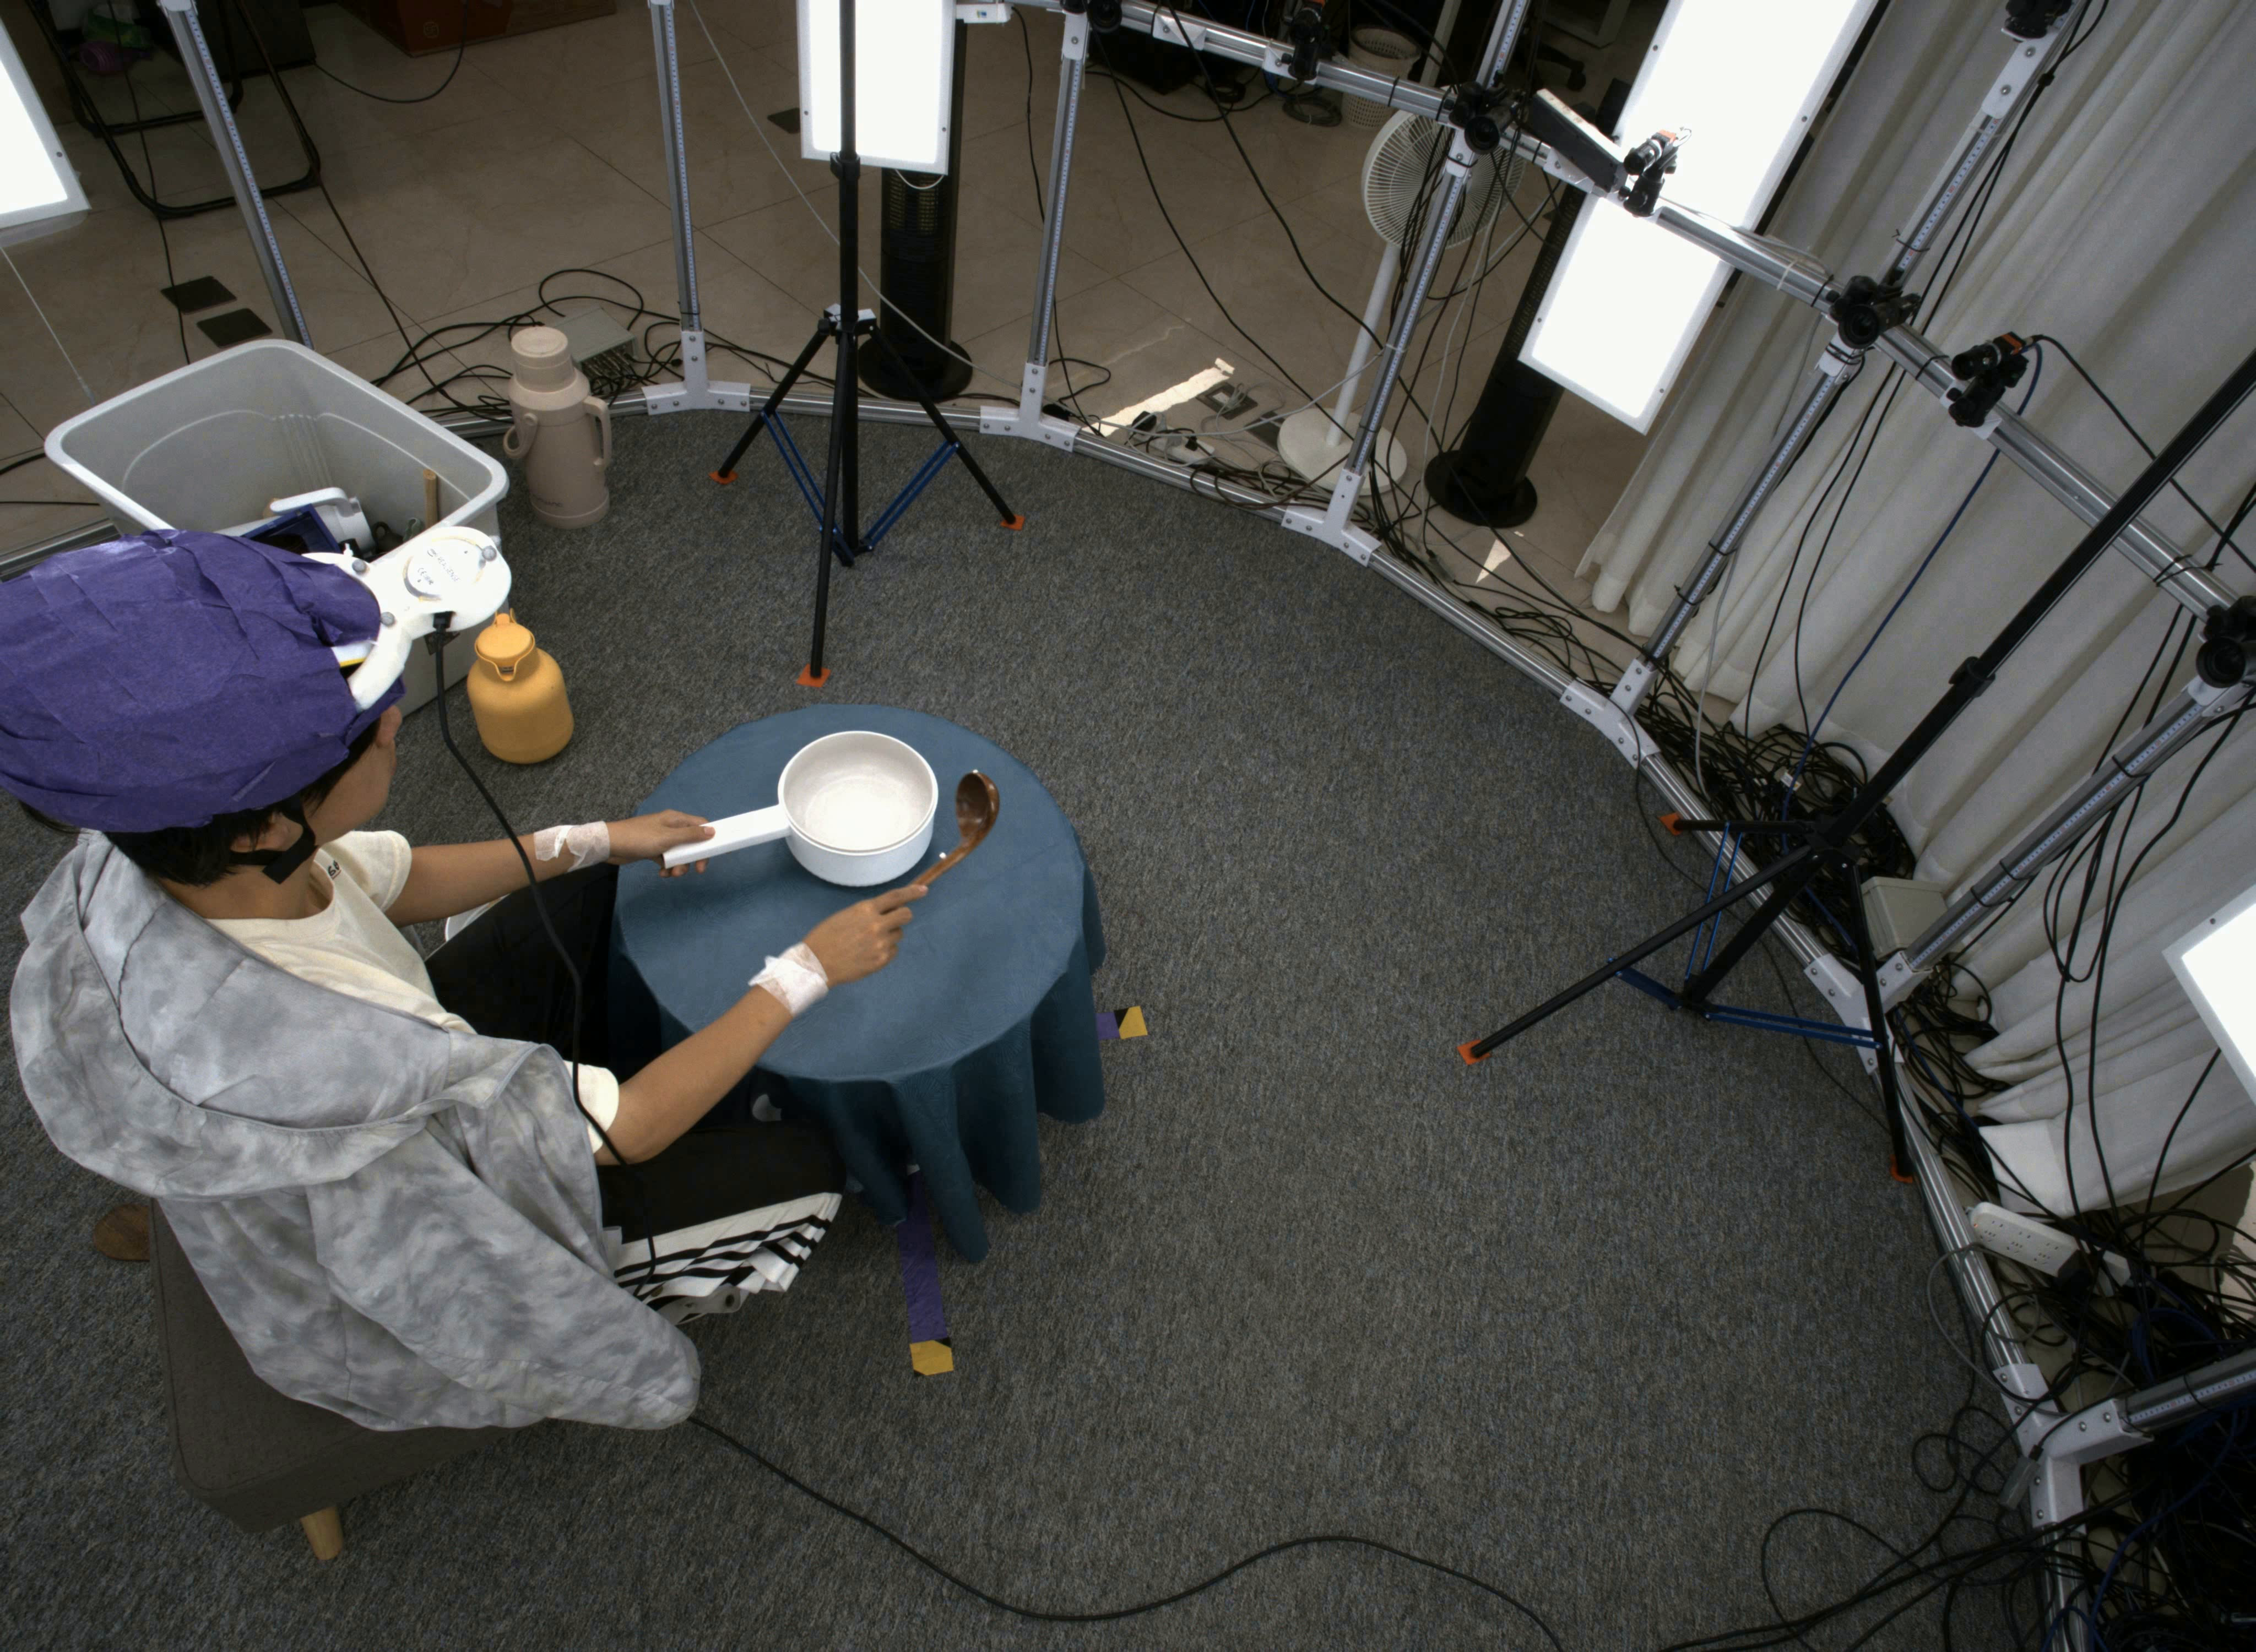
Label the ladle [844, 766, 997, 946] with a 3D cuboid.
[{"bbox_3d":[-0.246,0.025,1.500,0.078,0.081,0.274,53,51,-8],"label":"ladle"}]

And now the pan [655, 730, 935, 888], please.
[{"bbox_3d":[-0.420,0.003,1.661,0.356,0.104,0.196,-17,60,-24],"label":"pan"}]
